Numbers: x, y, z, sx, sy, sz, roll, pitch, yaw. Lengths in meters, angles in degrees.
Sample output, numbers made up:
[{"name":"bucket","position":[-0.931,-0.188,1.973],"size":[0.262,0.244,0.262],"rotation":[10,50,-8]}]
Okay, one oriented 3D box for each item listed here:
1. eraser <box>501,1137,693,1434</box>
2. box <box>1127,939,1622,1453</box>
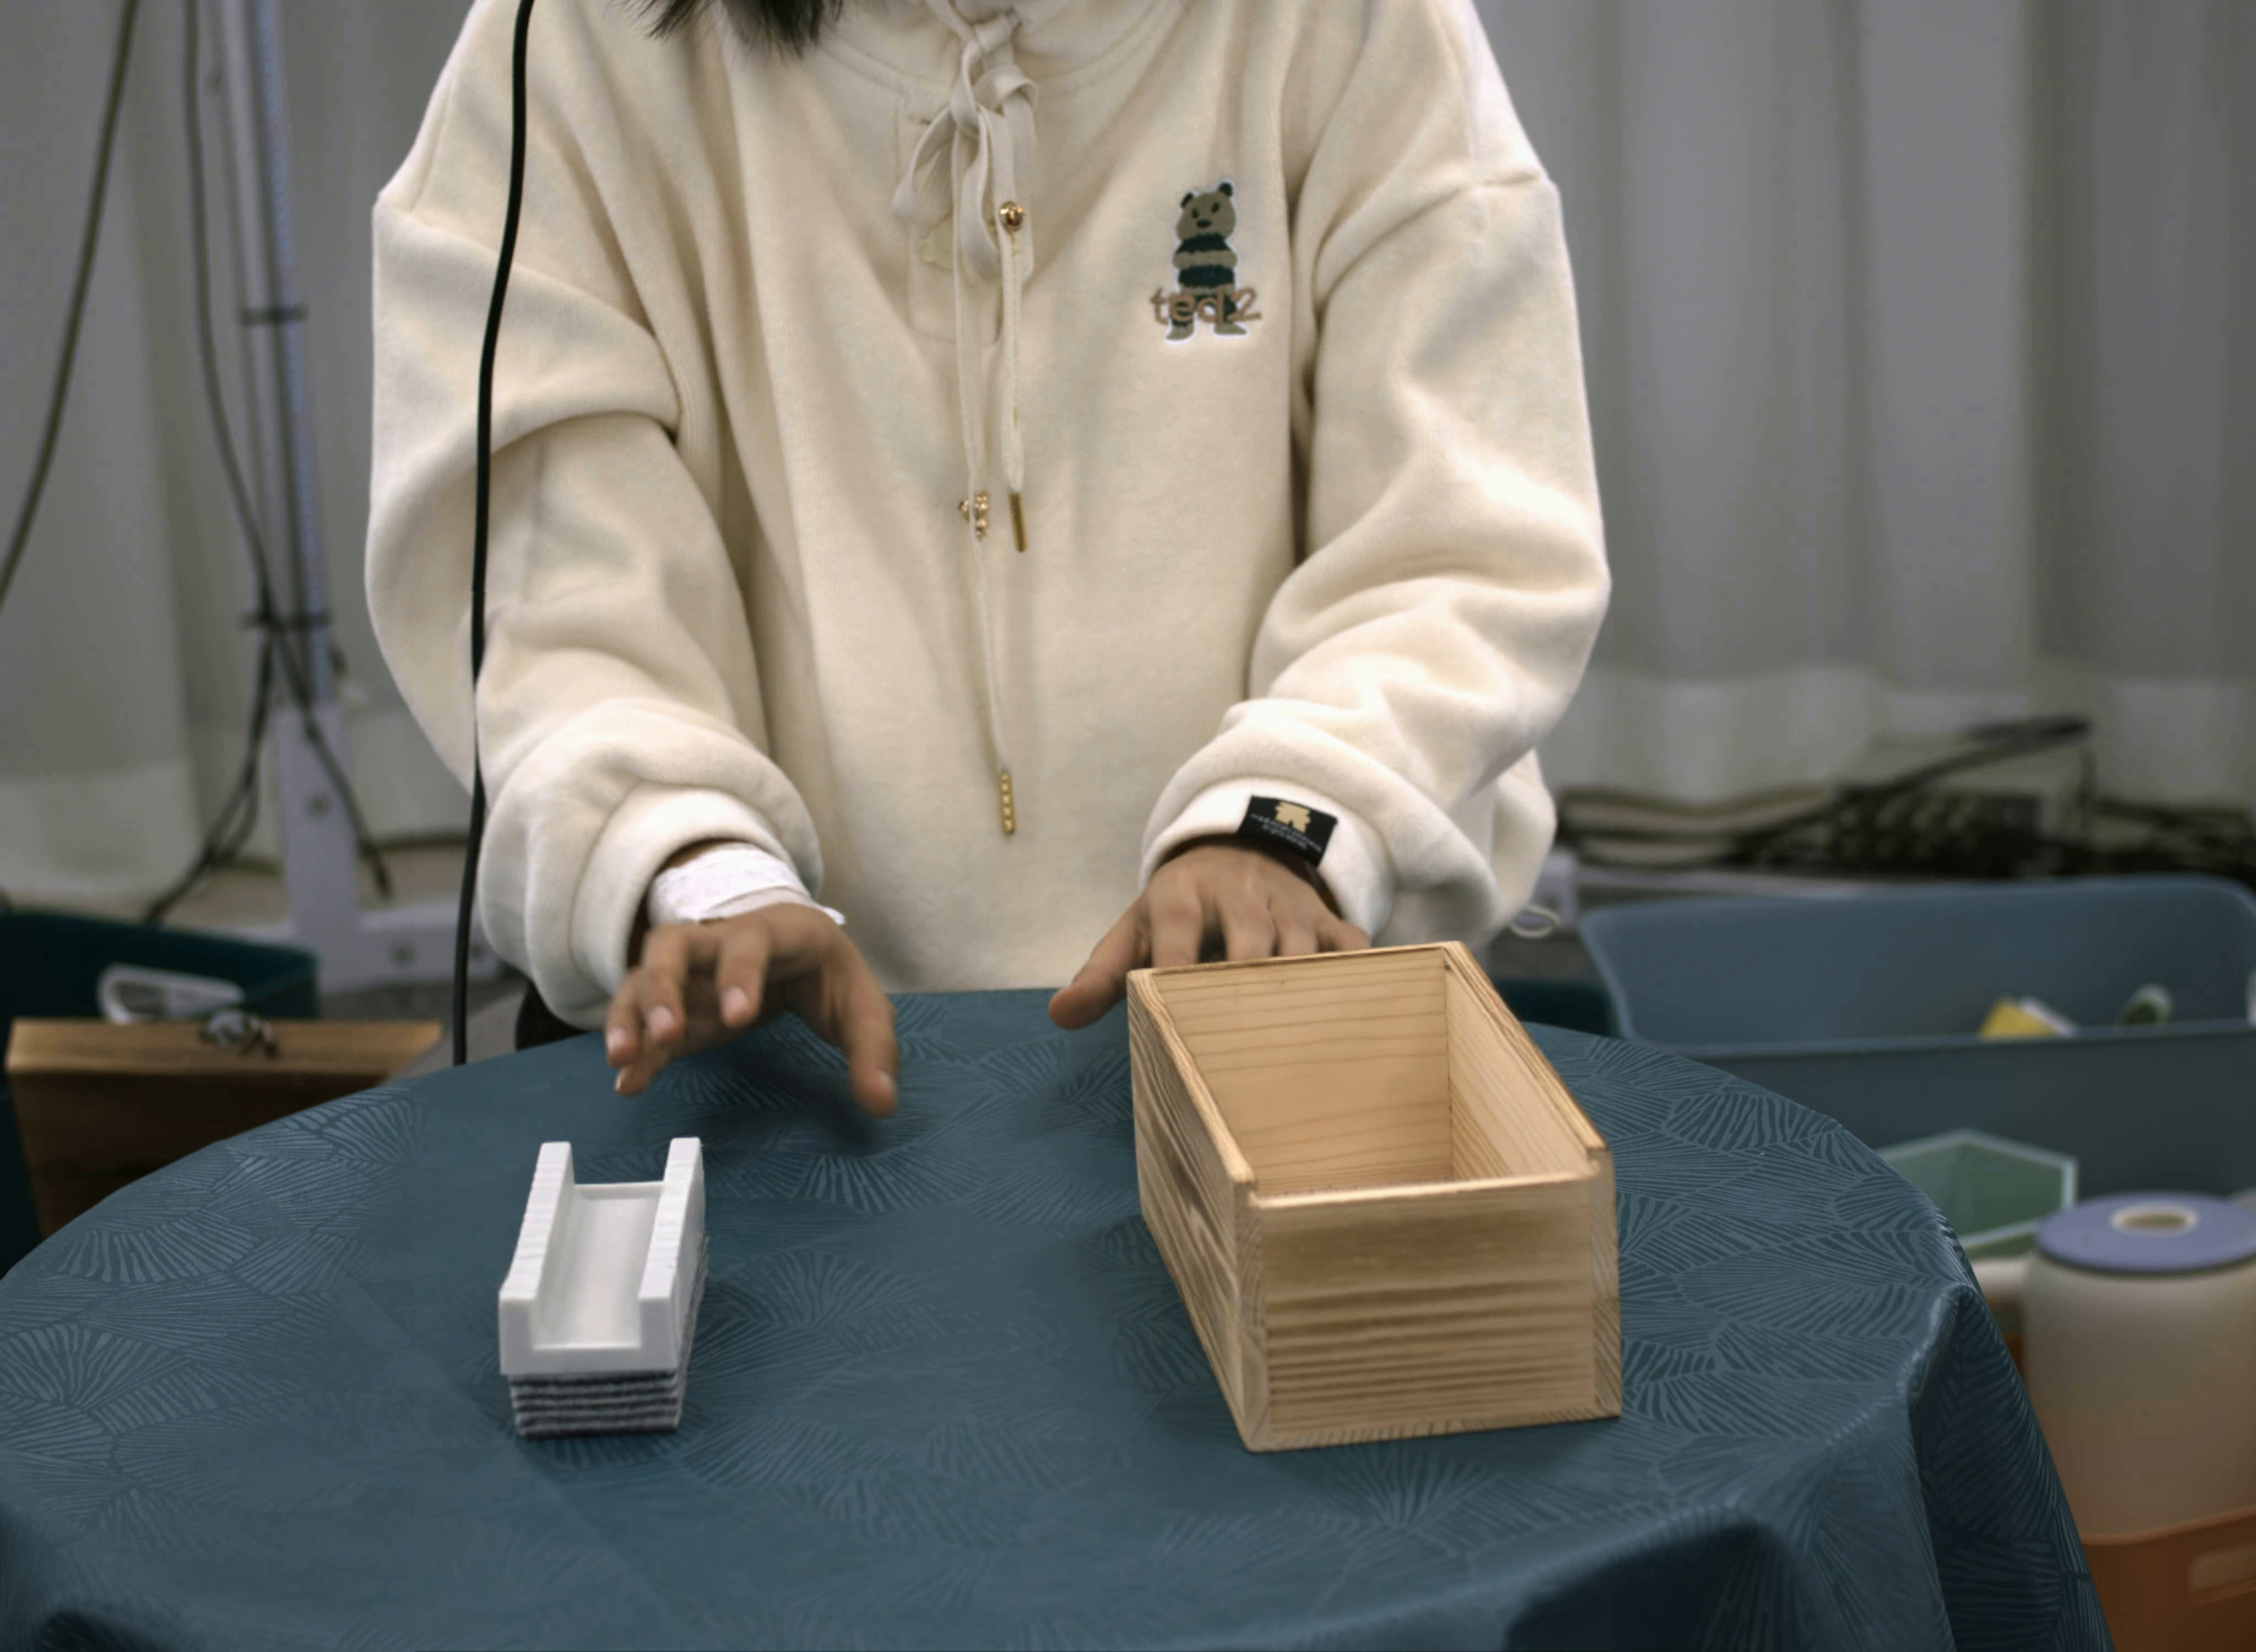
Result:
[{"name":"eraser","position":[-0.153,0.132,1.587],"size":[0.049,0.046,0.135],"rotation":[-5,16,-2]},{"name":"box","position":[0.068,0.103,1.591],"size":[0.107,0.080,0.213],"rotation":[-4,15,-8]}]
